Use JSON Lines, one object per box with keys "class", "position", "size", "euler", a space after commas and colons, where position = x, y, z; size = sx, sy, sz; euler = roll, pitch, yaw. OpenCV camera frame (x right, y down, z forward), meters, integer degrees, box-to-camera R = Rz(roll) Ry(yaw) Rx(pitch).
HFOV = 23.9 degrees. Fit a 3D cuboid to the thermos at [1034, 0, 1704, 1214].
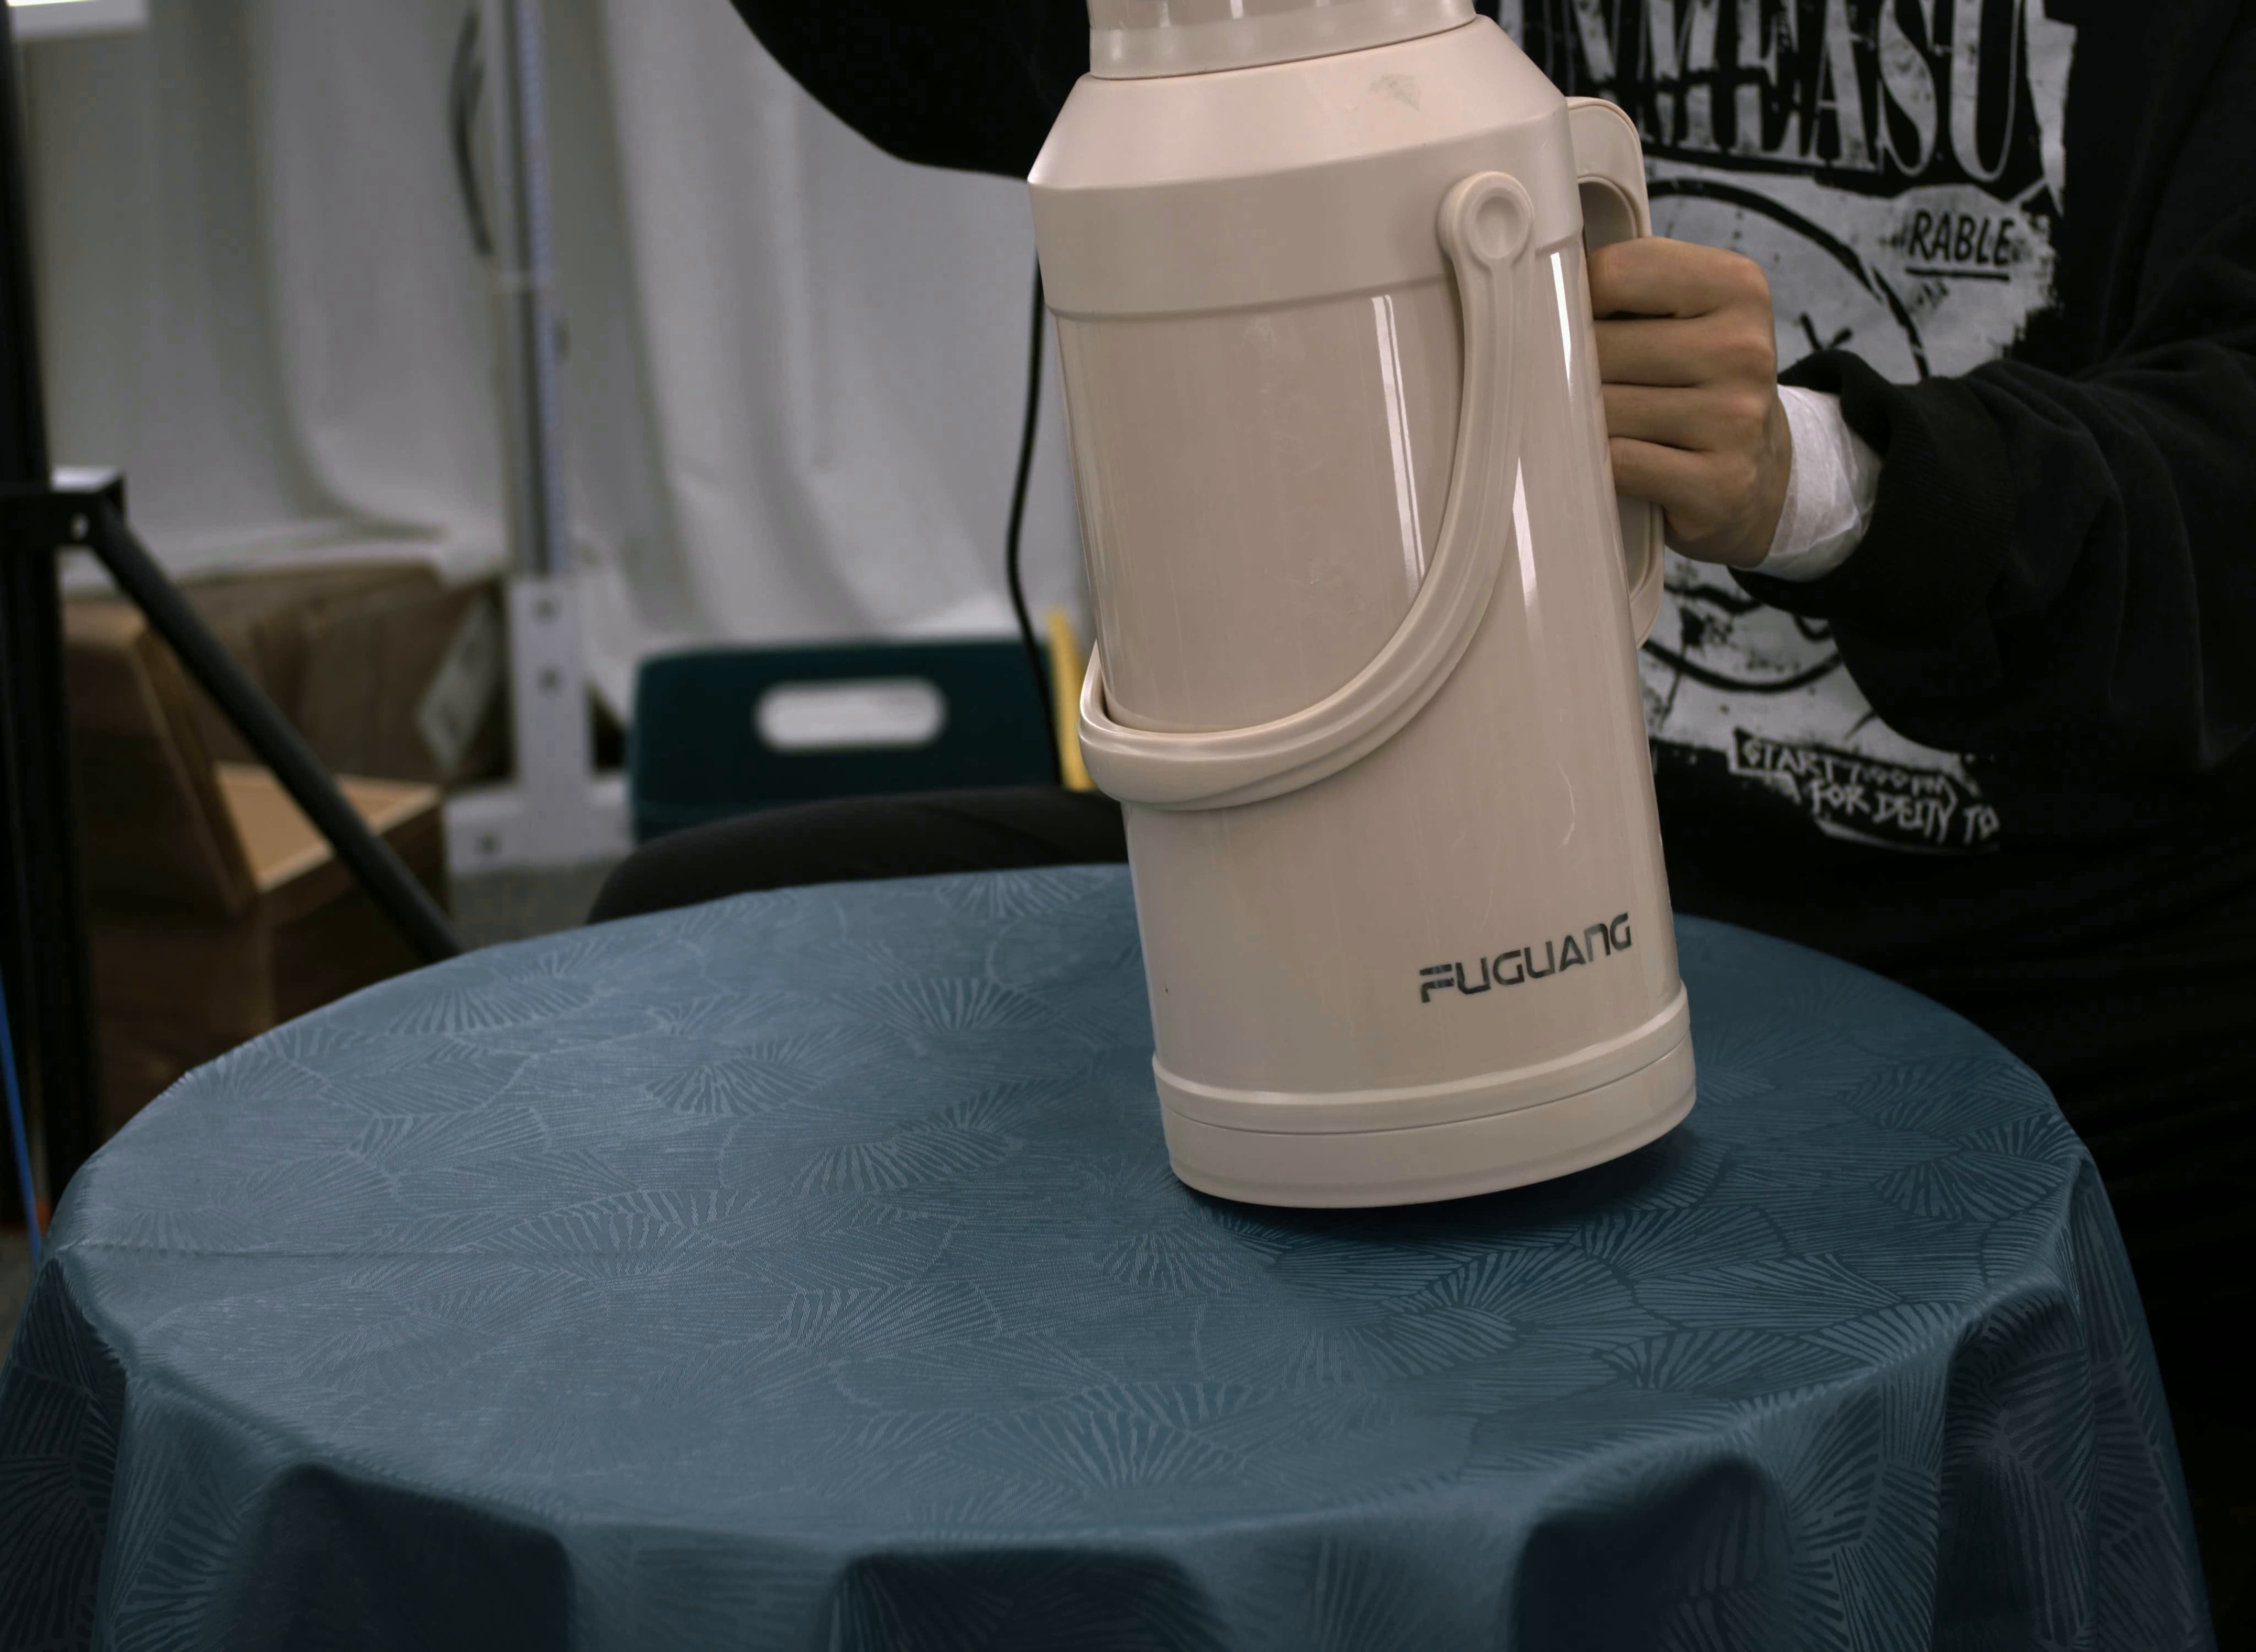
{"class": "thermos", "position": [0.076, -0.105, 1.539], "size": [0.202, 0.406, 0.179], "euler": [-16, 12, -33]}
